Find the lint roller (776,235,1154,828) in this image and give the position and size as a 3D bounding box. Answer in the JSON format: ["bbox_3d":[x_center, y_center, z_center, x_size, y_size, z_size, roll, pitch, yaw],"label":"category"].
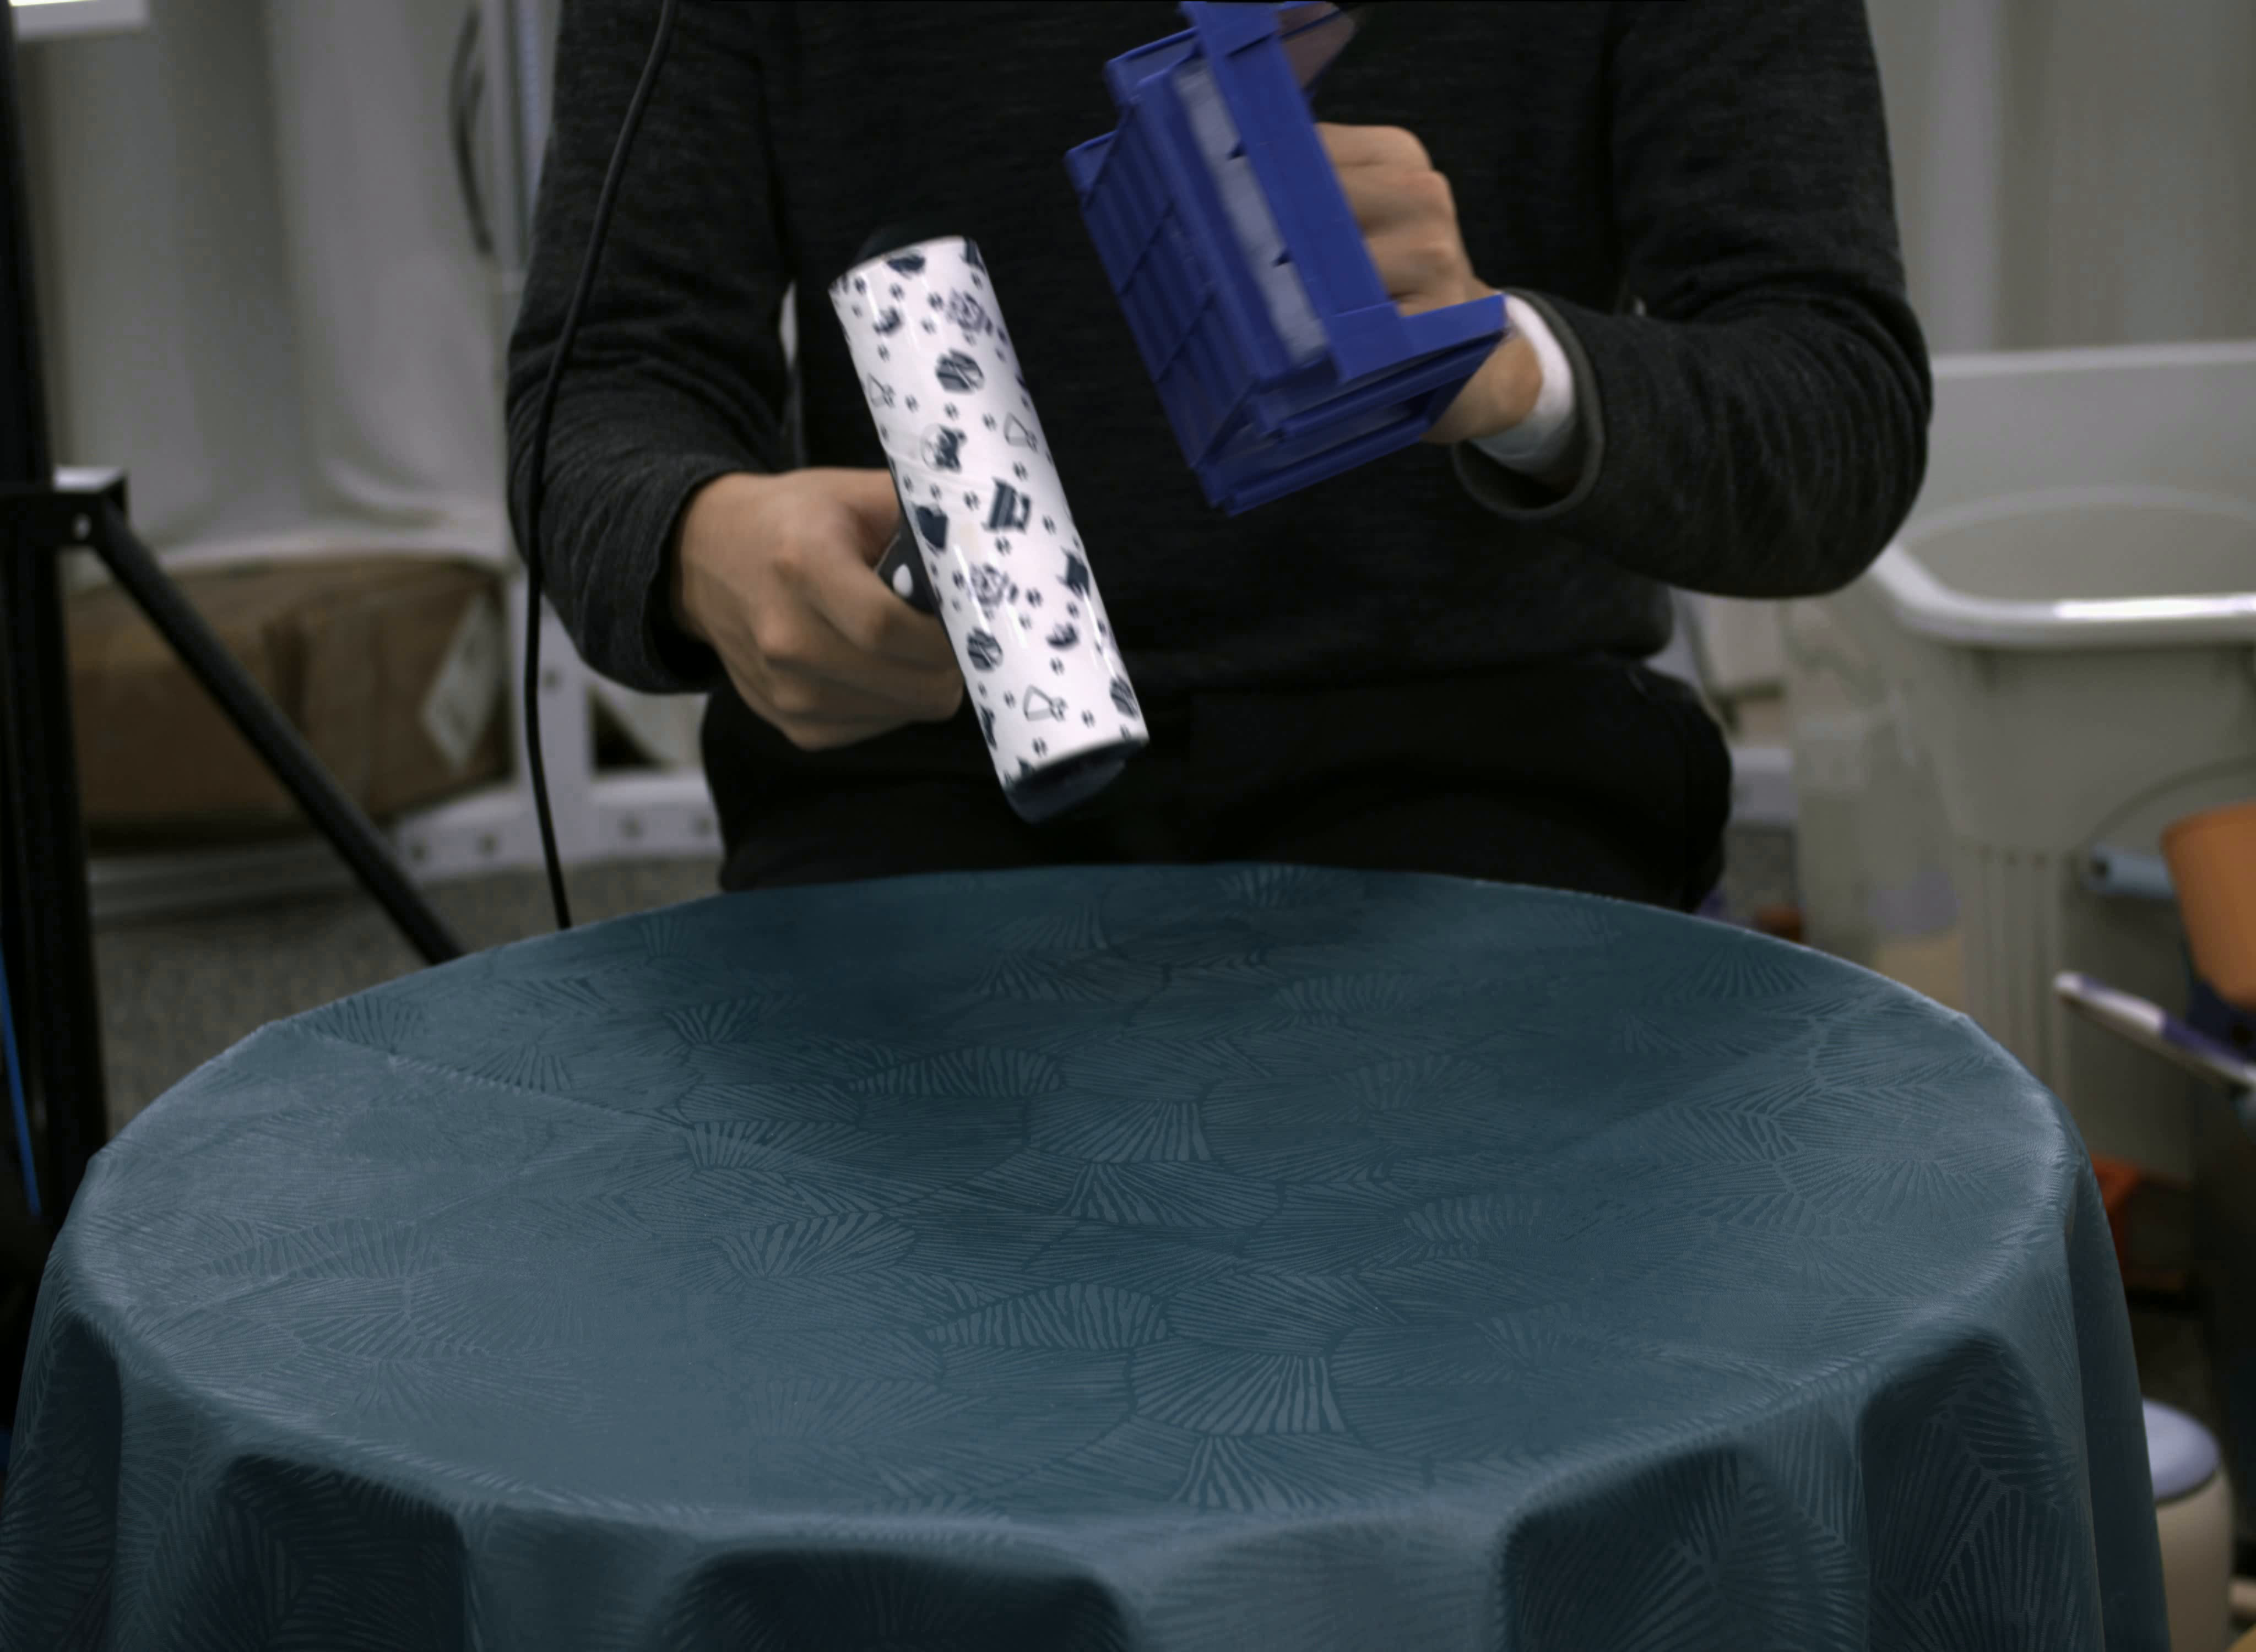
[{"bbox_3d":[-0.074,-0.064,1.686,0.049,0.178,0.249,-16,-9,-24],"label":"lint roller"}]

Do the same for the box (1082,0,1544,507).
[{"bbox_3d":[0.055,-0.179,1.593,0.081,0.125,0.180,-21,-6,-12],"label":"box"}]
